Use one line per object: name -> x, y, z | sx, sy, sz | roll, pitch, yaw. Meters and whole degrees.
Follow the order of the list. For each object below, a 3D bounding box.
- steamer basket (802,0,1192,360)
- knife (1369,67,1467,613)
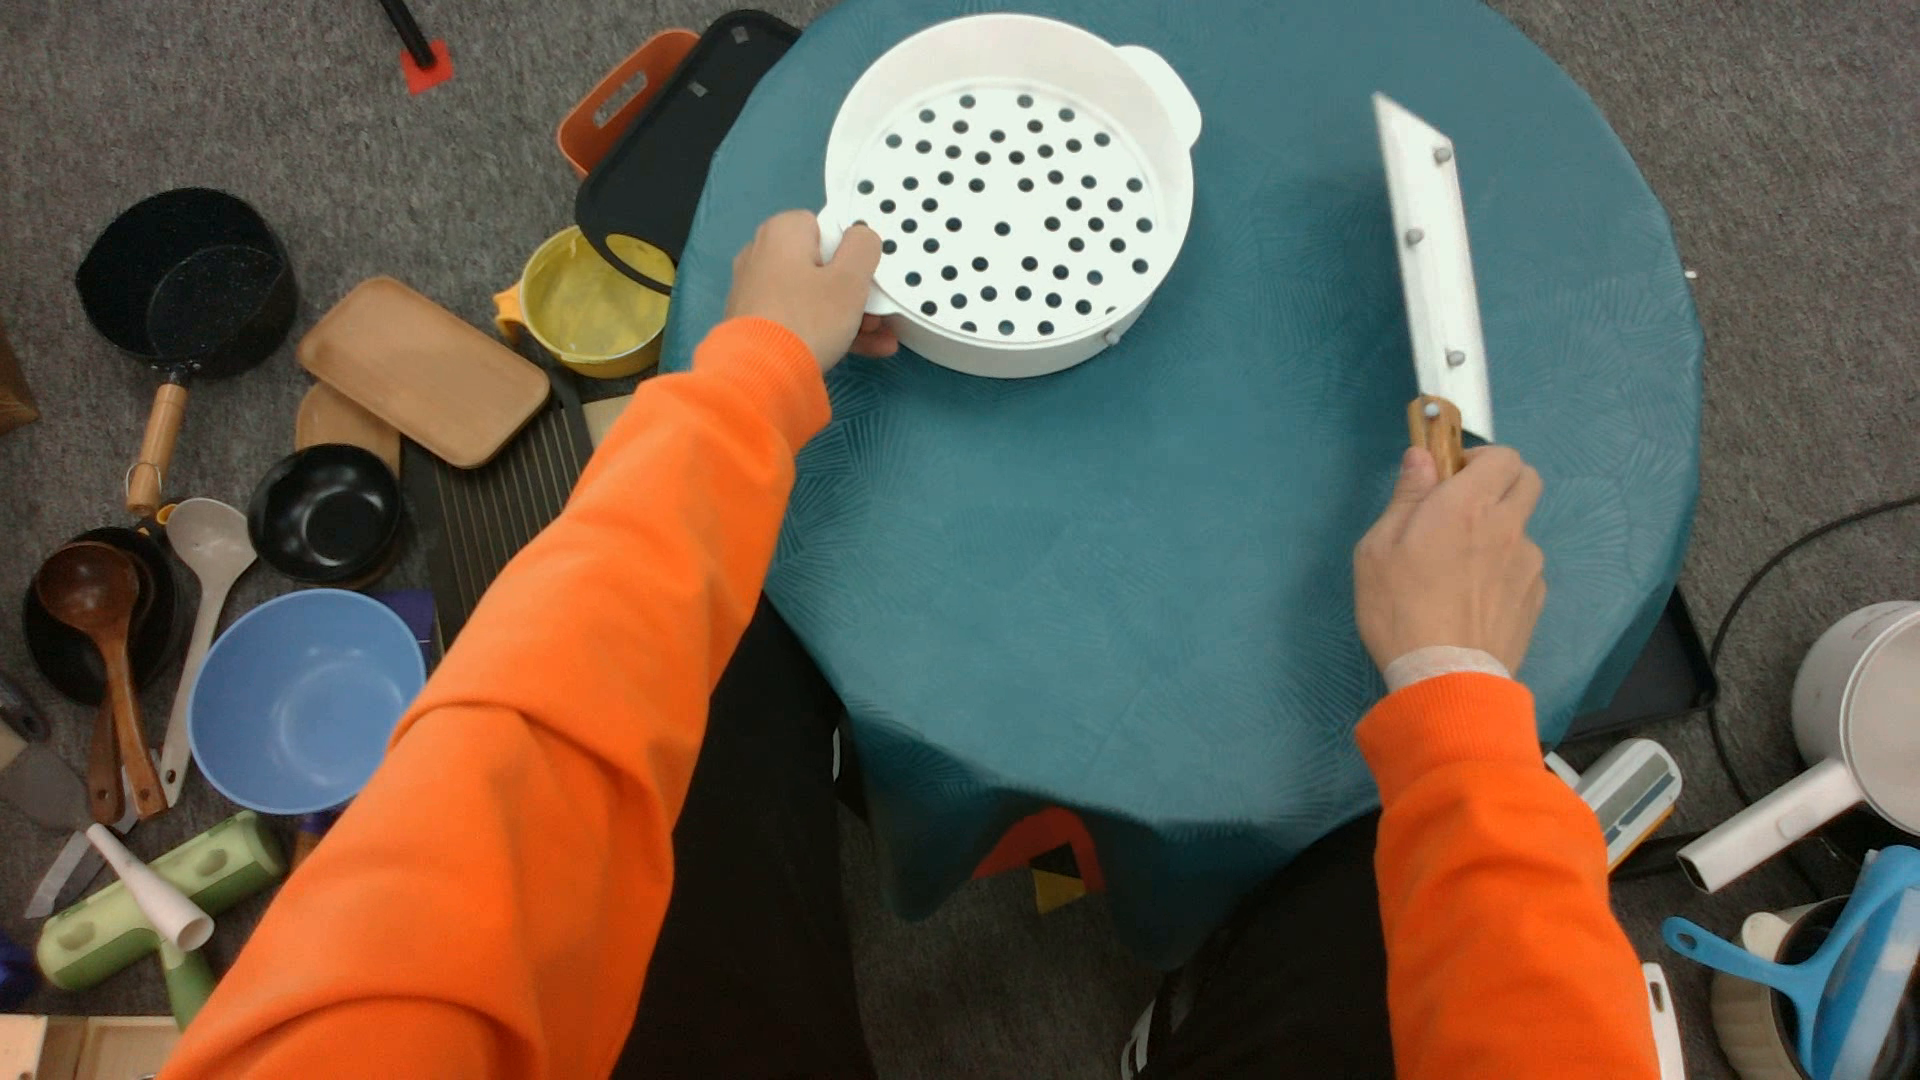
steamer basket -> 0.020, -0.201, 0.773 | 0.231, 0.069, 0.202 | -30, 81, -13
knife -> 0.255, -0.108, 0.755 | 0.021, 0.093, 0.306 | -11, 75, 35
